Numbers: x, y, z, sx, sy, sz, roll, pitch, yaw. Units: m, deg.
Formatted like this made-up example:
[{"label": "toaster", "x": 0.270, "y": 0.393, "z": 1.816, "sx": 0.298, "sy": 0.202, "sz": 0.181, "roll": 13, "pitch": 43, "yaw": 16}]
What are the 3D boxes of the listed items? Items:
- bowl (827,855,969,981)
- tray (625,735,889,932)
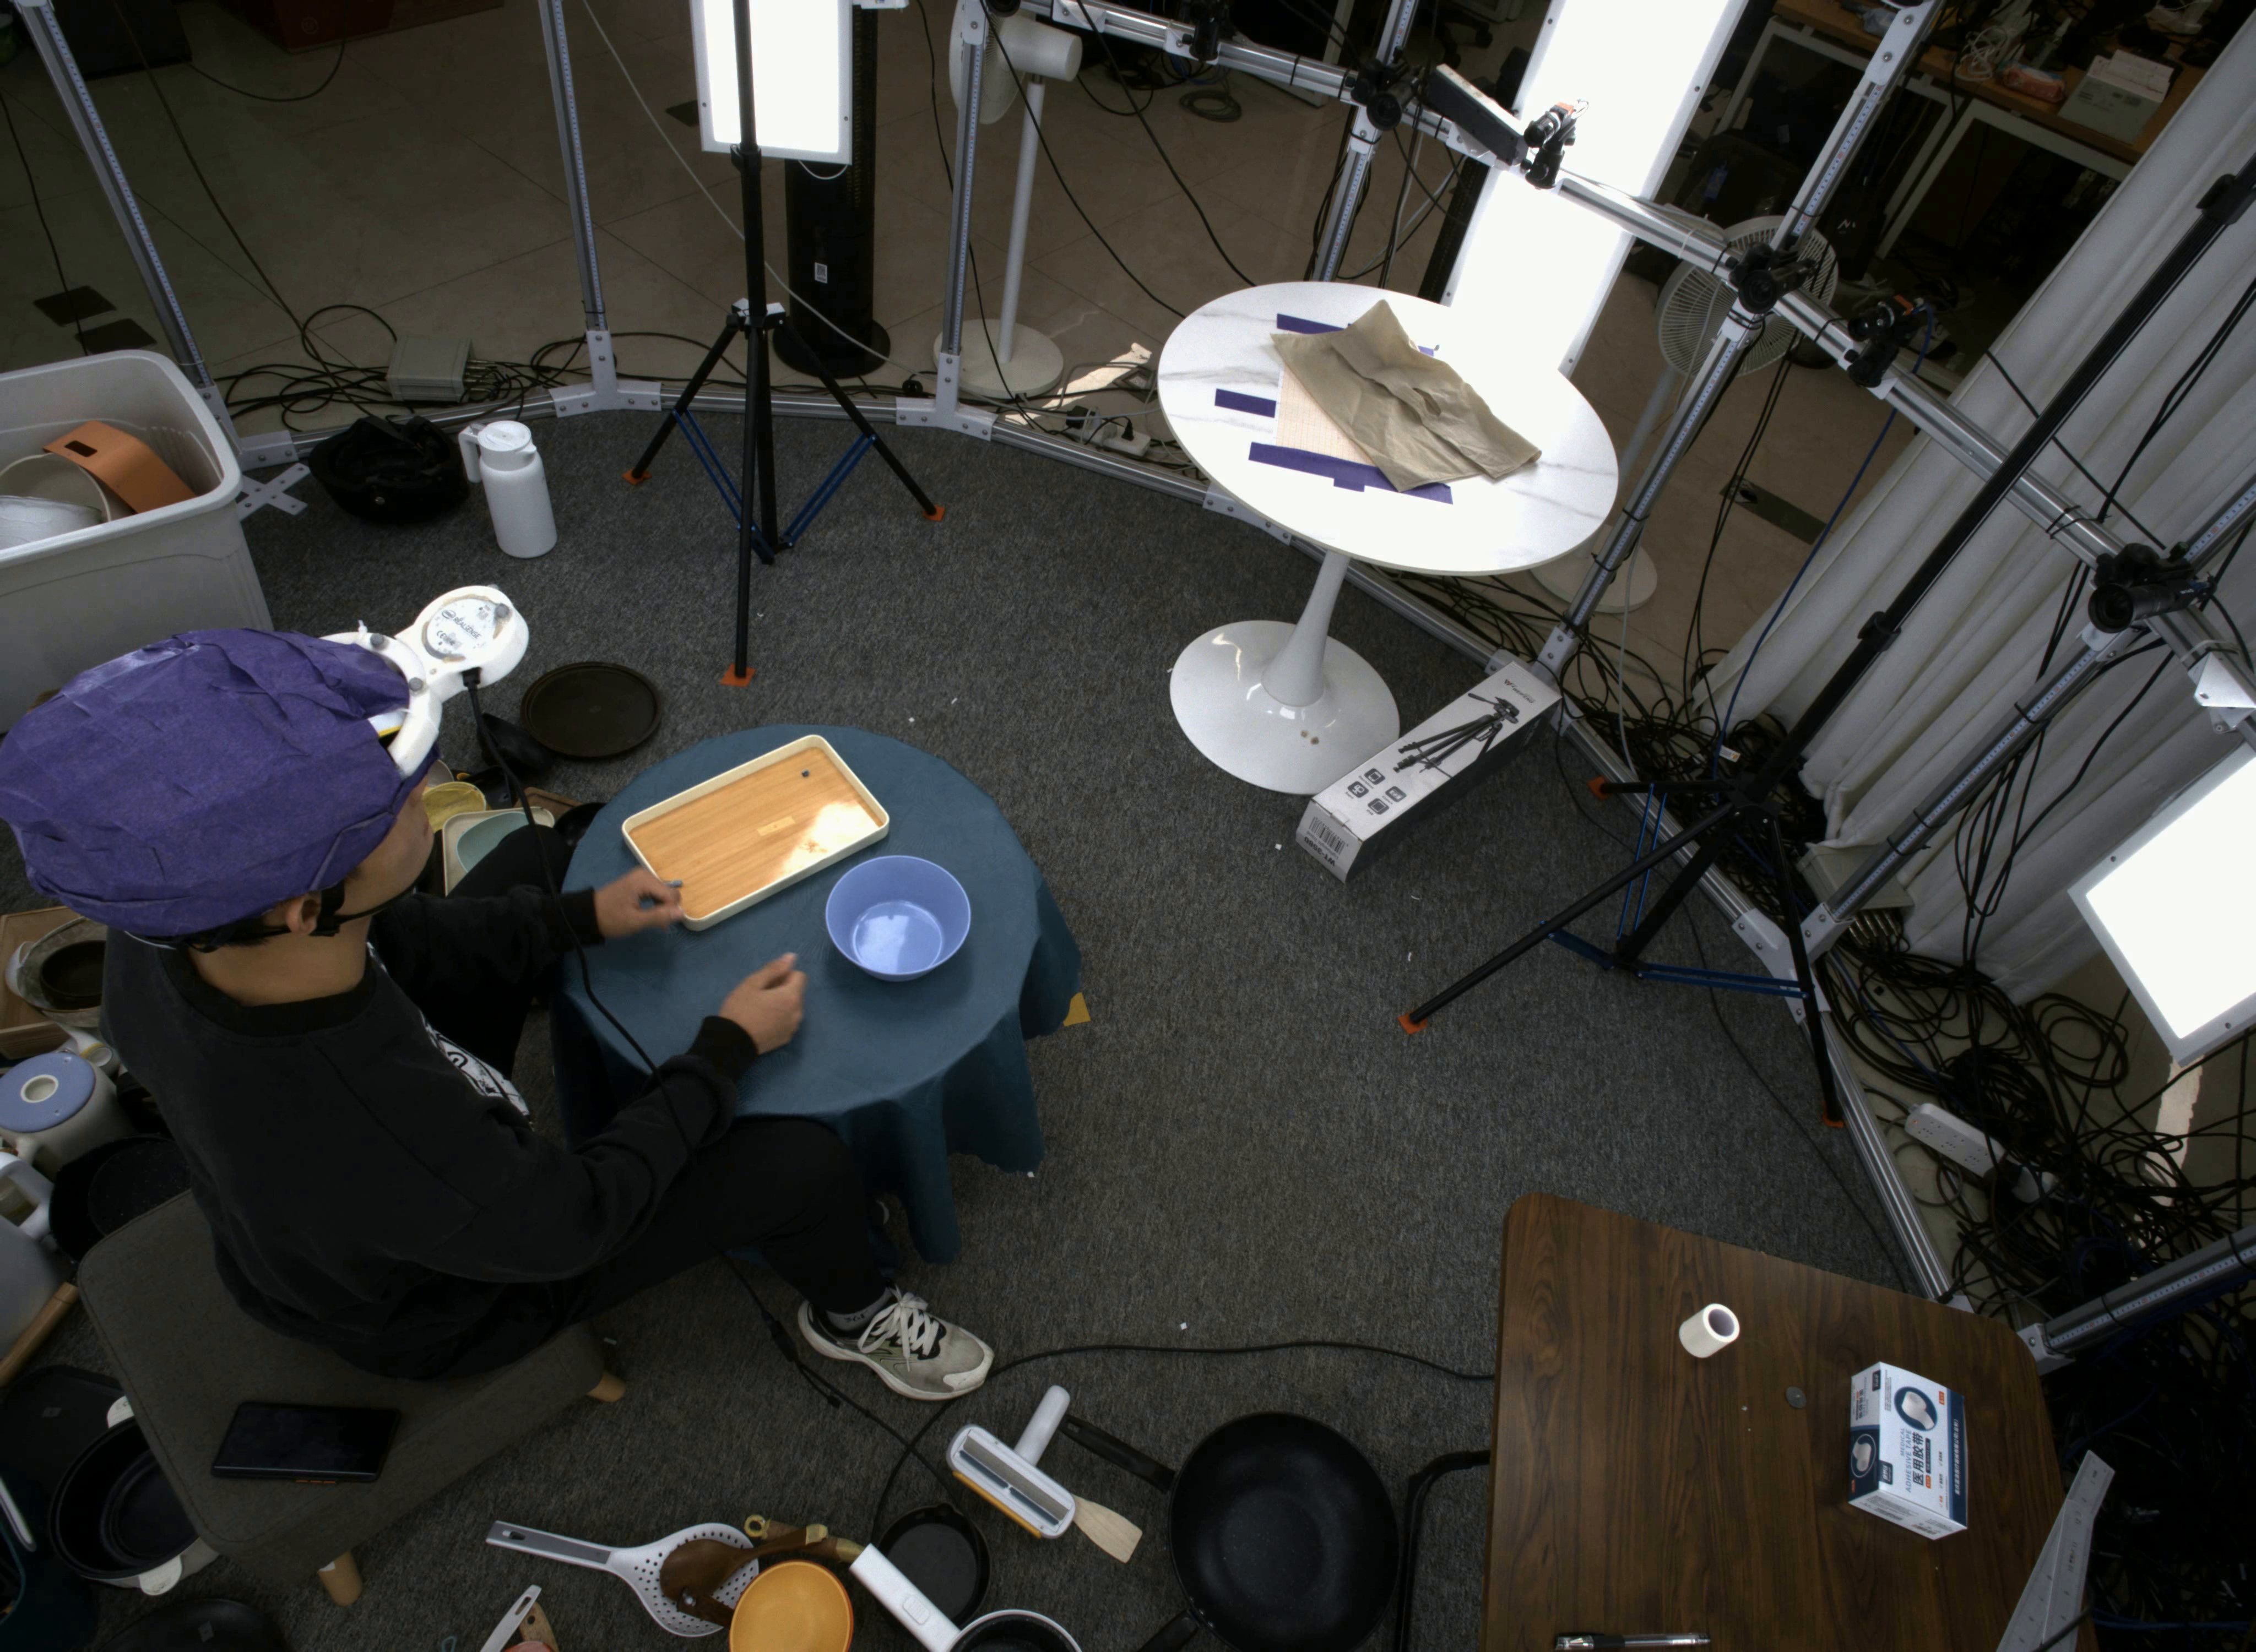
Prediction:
[{"label": "bowl", "x": -0.287, "y": 0.125, "z": 1.625, "sx": 0.175, "sy": 0.072, "sz": 0.173, "roll": 8, "pitch": 51, "yaw": -8}, {"label": "tray", "x": -0.484, "y": 0.002, "z": 1.695, "sx": 0.301, "sy": 0.028, "sz": 0.187, "roll": -30, "pitch": 66, "yaw": -31}]
